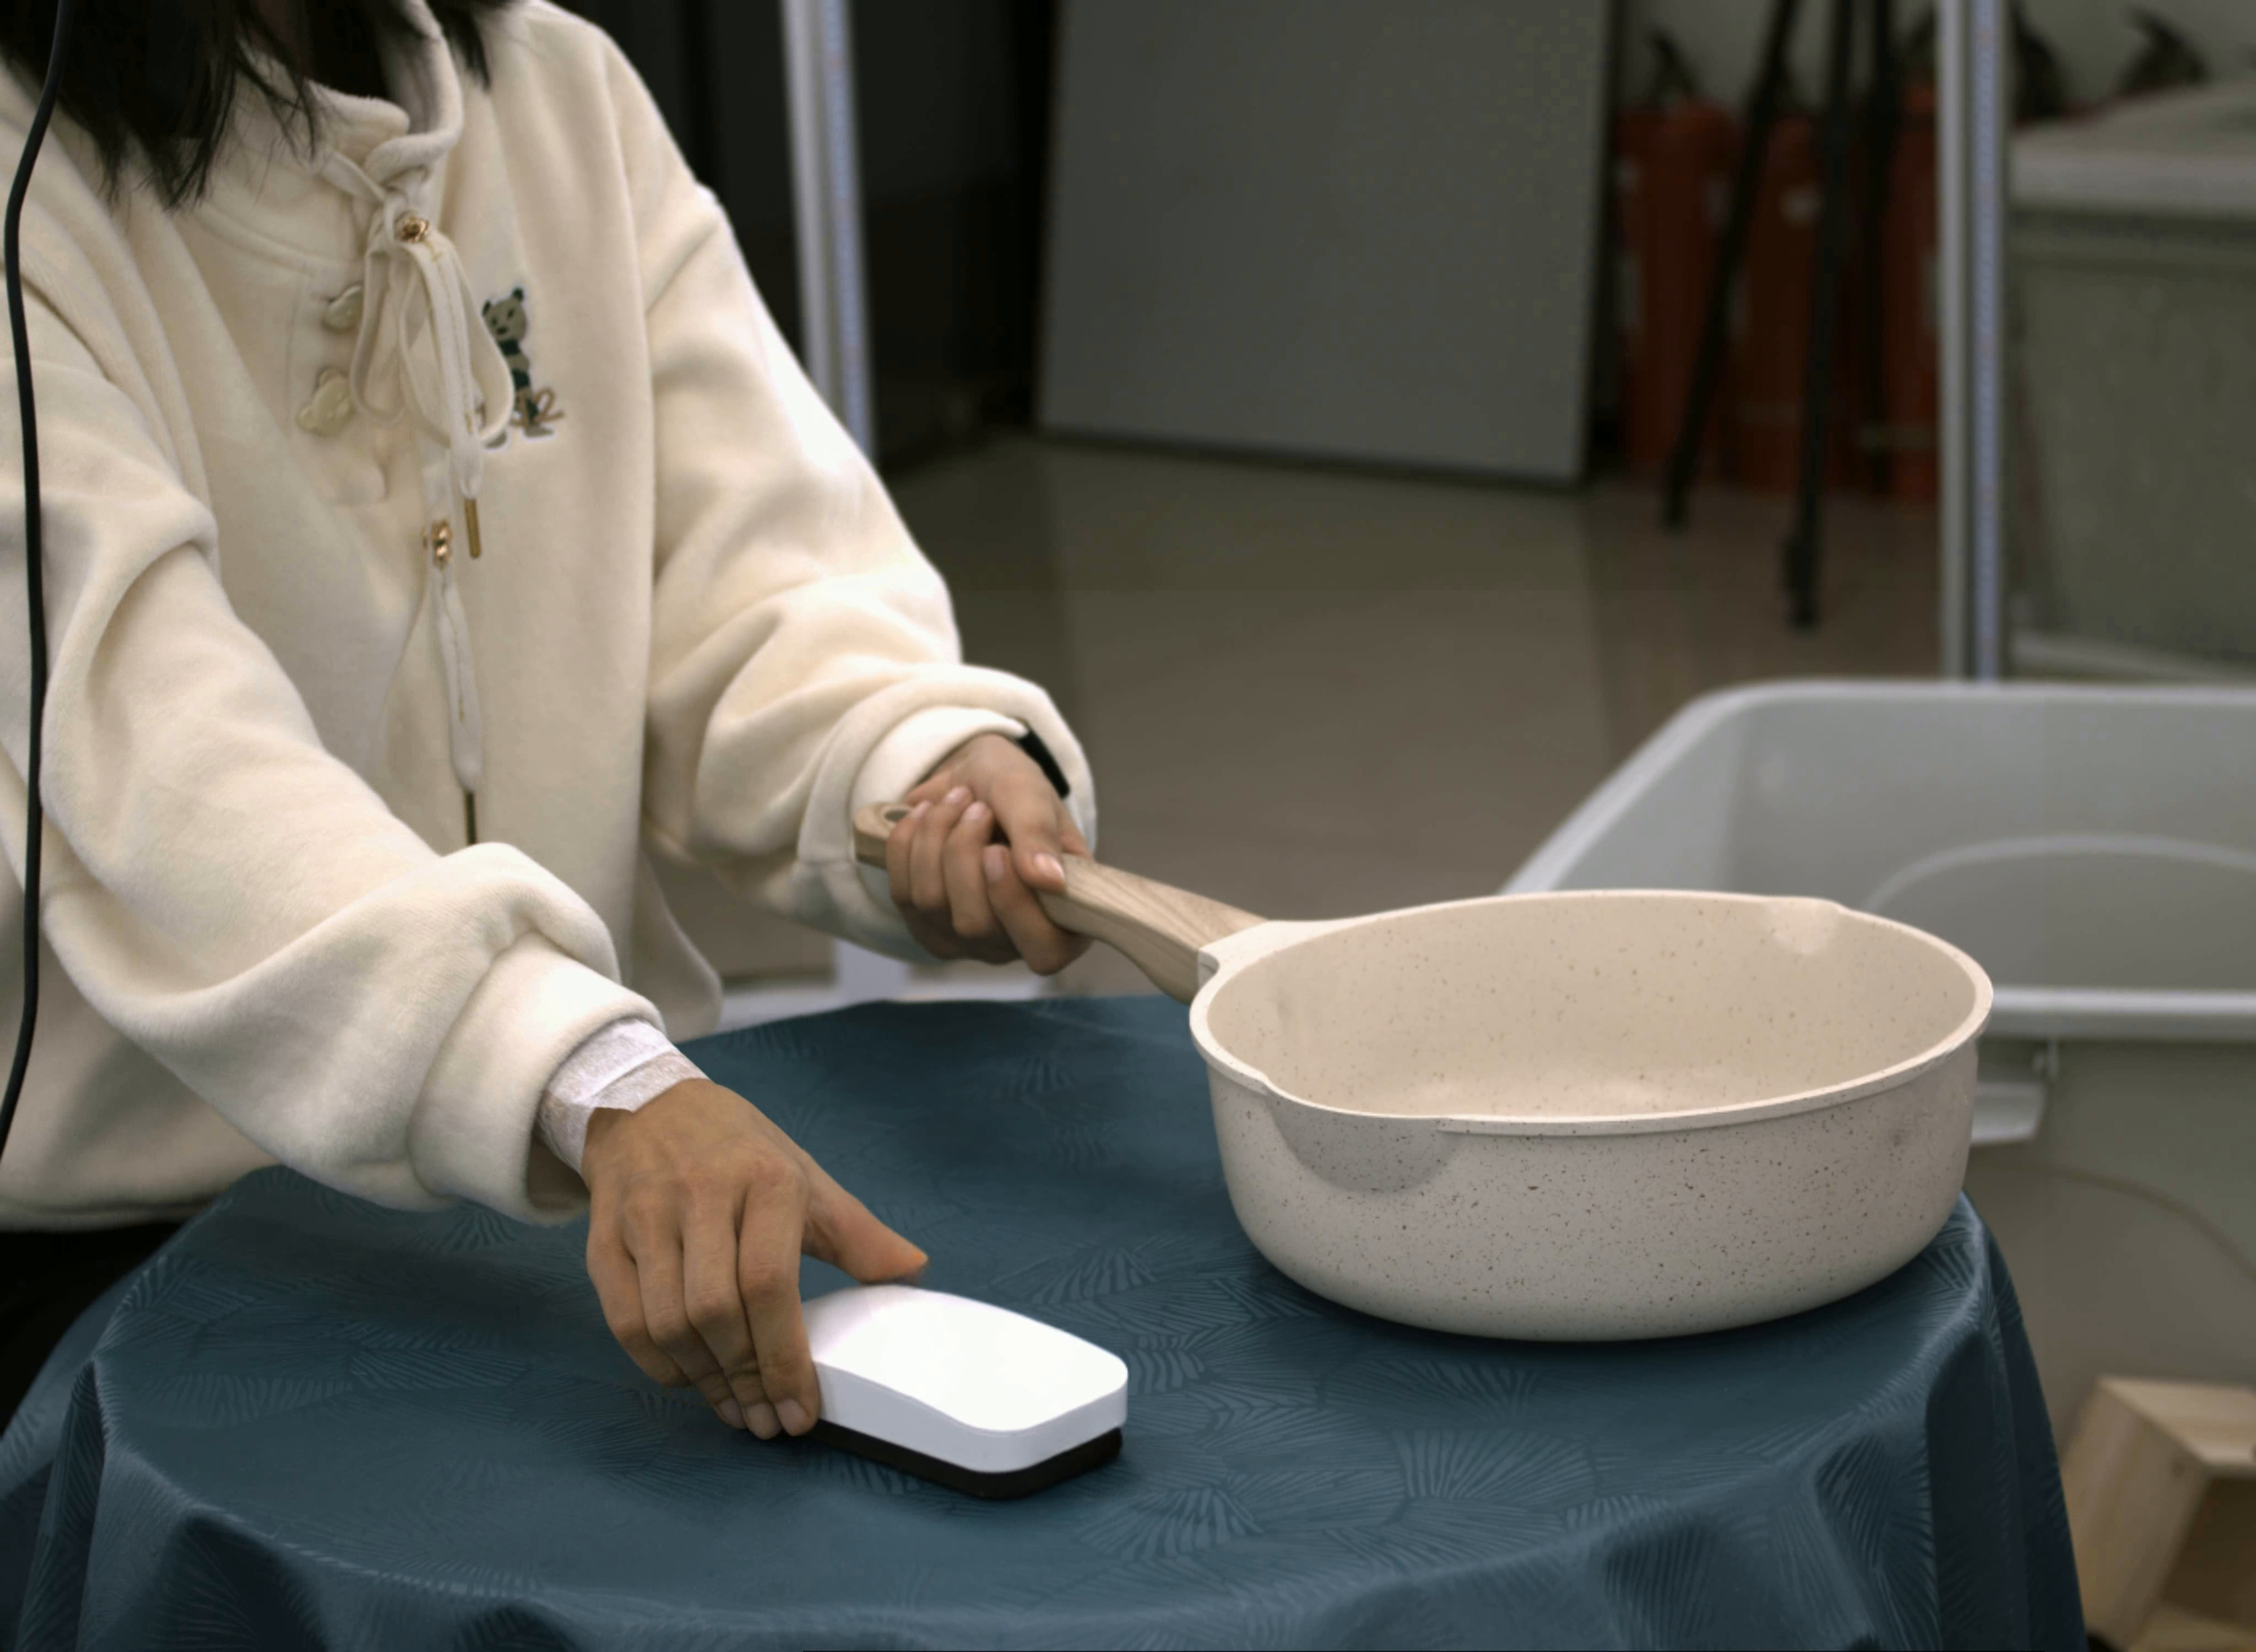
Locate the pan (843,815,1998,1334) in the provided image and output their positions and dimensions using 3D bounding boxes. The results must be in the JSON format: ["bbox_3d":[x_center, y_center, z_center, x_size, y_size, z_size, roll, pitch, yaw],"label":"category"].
[{"bbox_3d":[0.077,0.070,1.738,0.438,0.103,0.258,8,20,40],"label":"pan"}]

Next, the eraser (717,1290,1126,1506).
[{"bbox_3d":[-0.059,0.162,1.557,0.062,0.035,0.132,-14,17,-40],"label":"eraser"}]
